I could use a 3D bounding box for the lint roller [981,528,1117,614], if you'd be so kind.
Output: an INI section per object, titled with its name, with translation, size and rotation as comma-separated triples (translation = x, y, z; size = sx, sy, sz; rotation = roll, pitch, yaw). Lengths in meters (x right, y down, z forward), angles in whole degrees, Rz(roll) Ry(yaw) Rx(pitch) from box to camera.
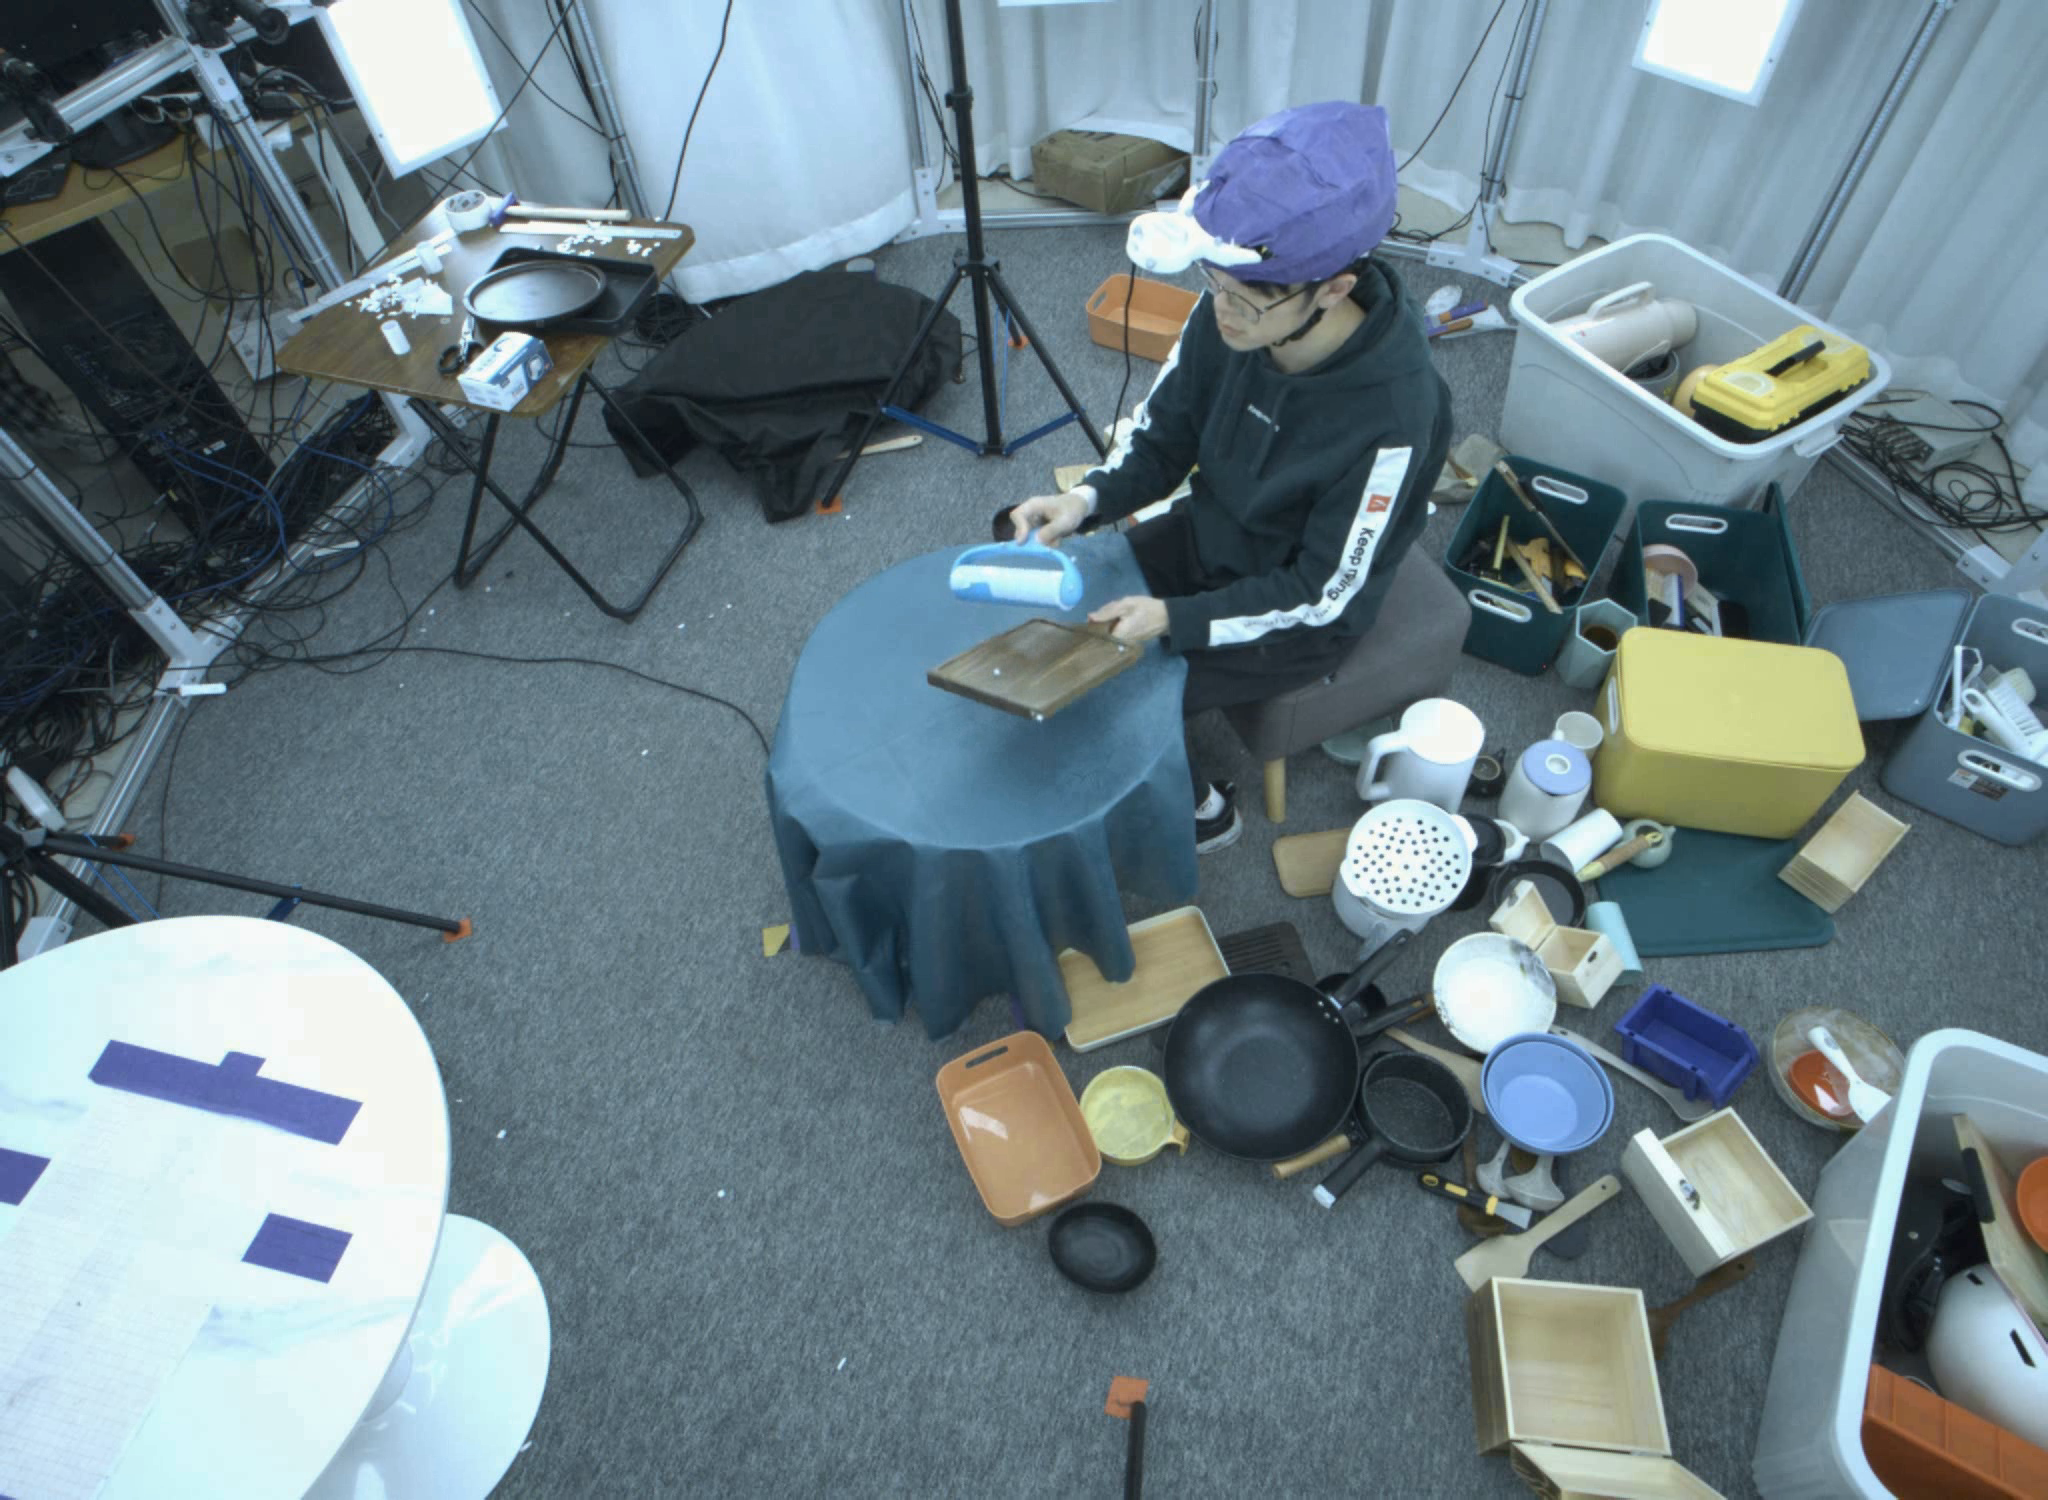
[lint roller]
translation = 0.057, -0.274, 1.766
size = 0.224, 0.069, 0.180
rotation = 7, 55, 35

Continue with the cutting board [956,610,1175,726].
[cutting board]
translation = 0.091, -0.132, 1.717
size = 0.197, 0.023, 0.356
rotation = 22, 35, 31
